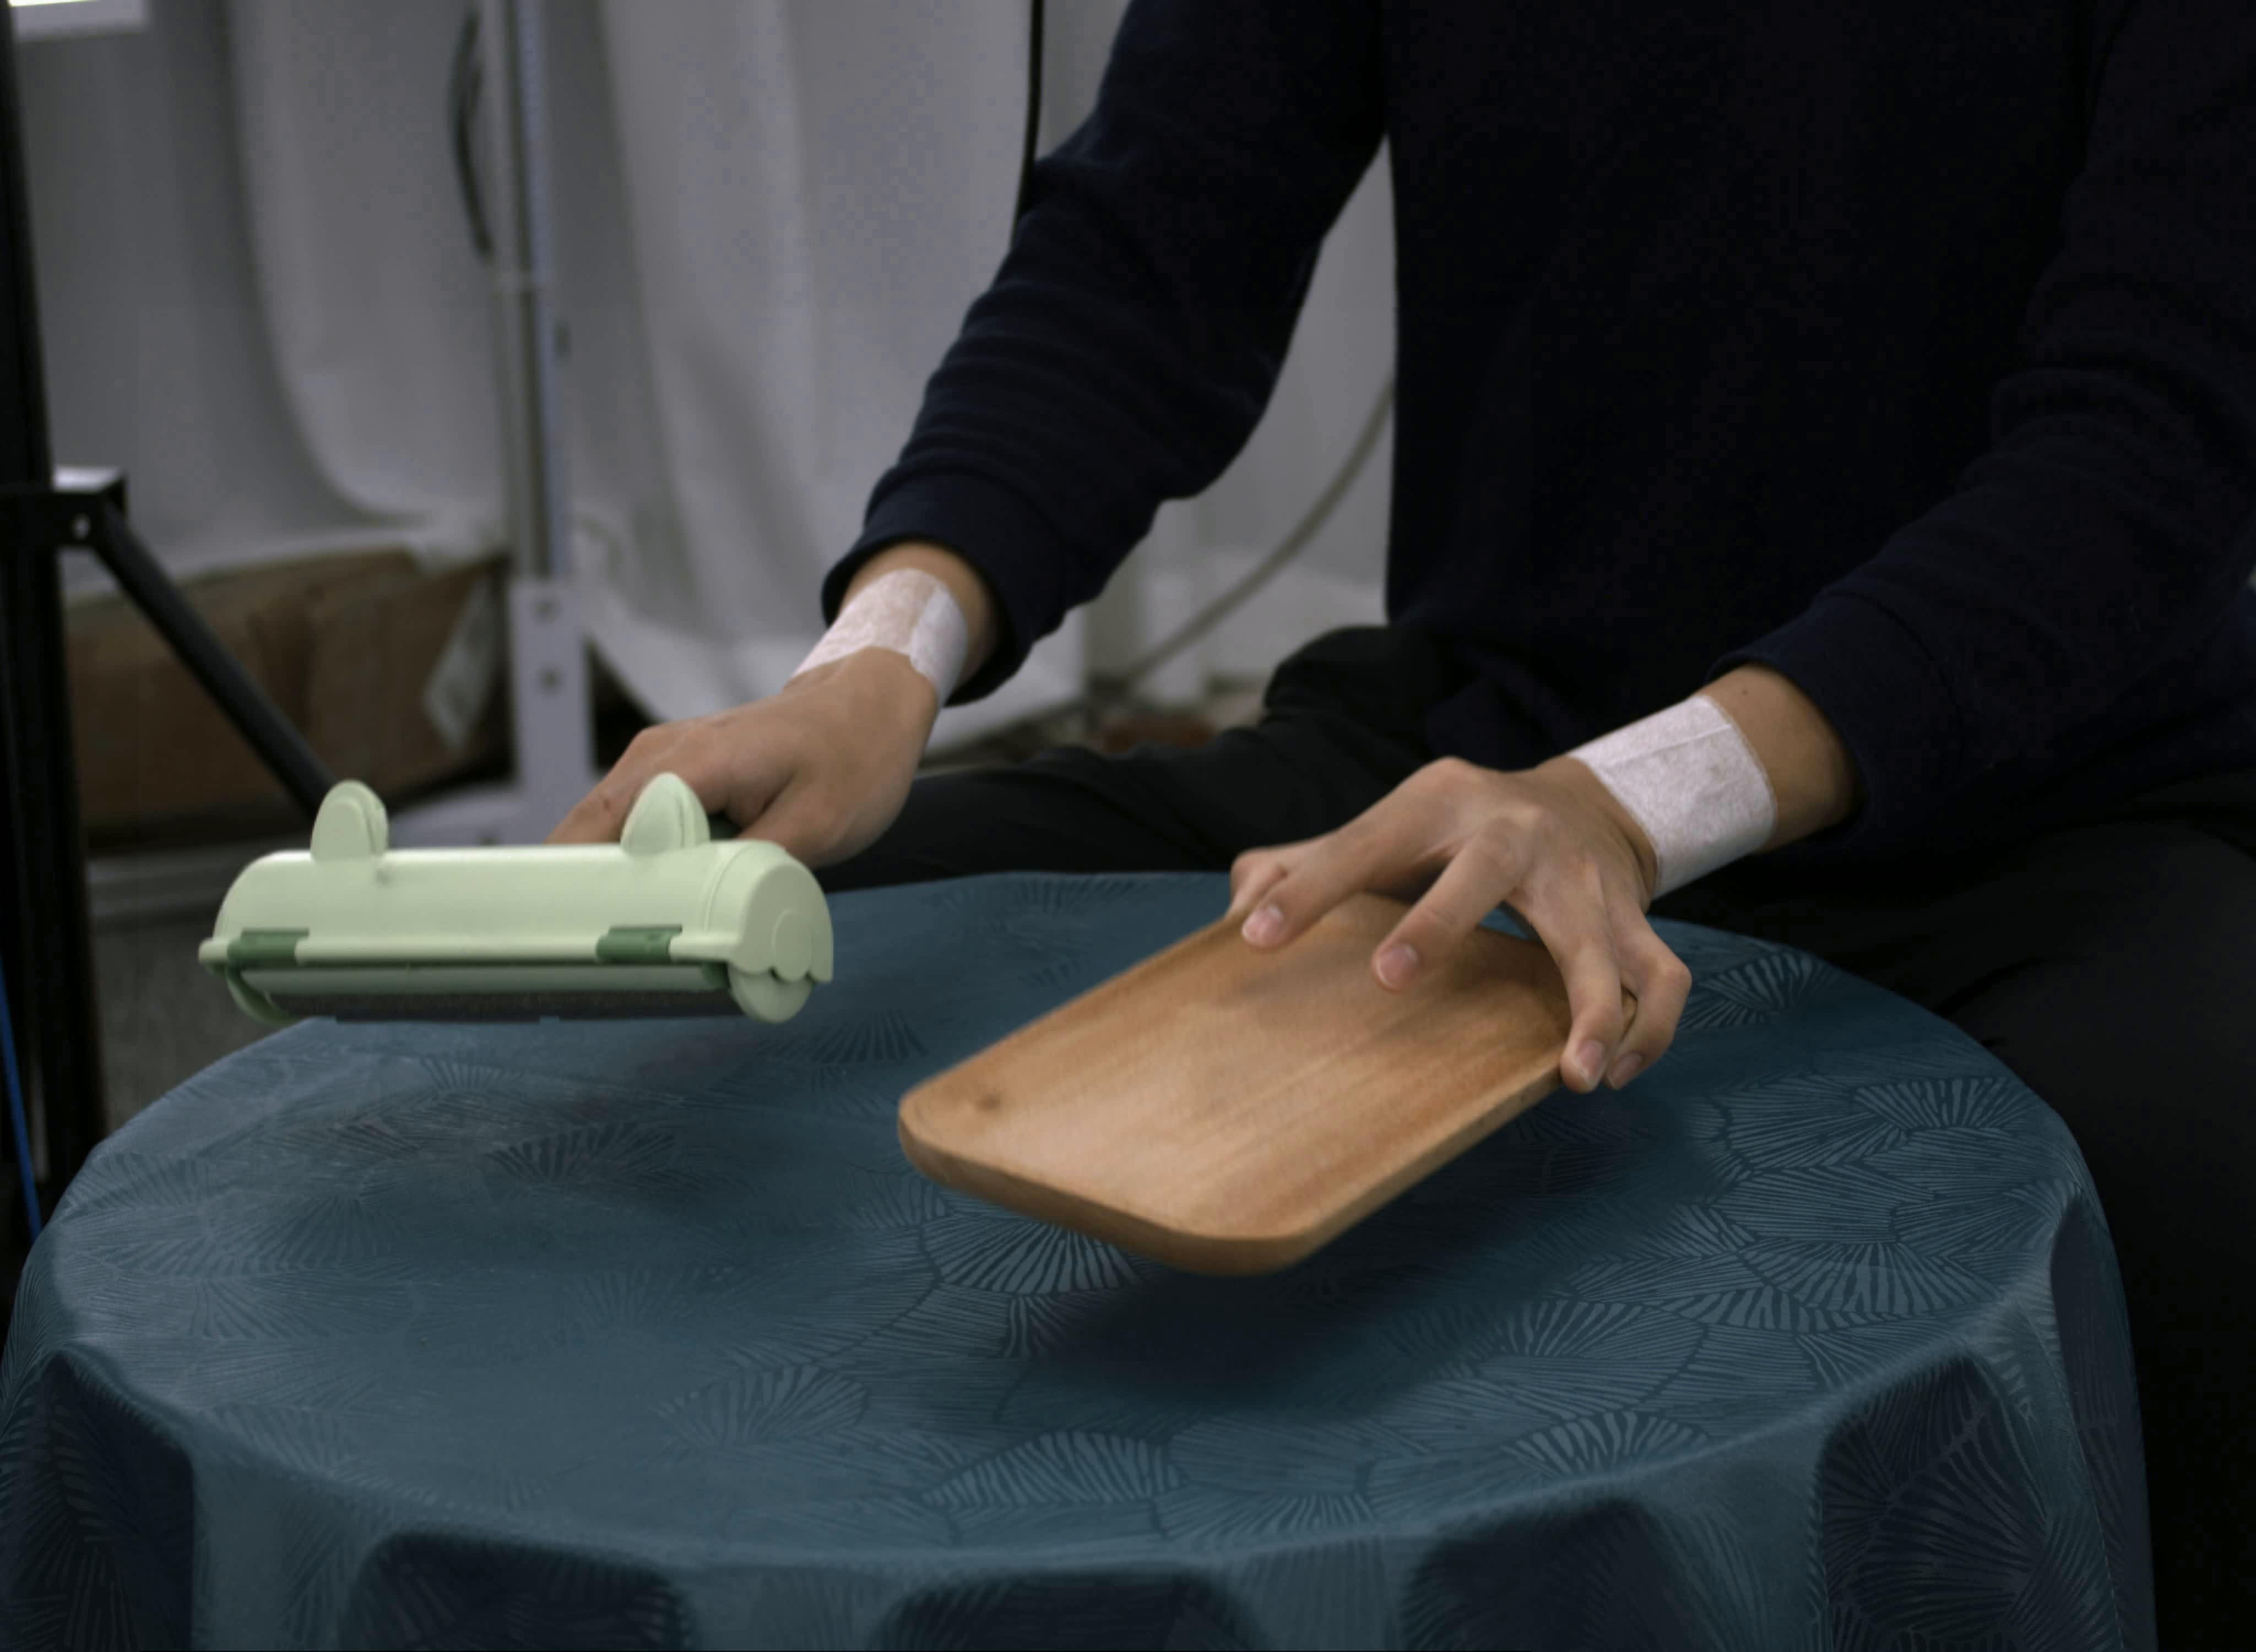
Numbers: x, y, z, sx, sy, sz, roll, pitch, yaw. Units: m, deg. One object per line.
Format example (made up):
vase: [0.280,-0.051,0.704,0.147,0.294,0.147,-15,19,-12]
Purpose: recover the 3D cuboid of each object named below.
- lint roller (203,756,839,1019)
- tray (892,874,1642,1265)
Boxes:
lint roller: [-0.160,-0.001,1.645,0.202,0.082,0.181,-1,24,30]
tray: [0.043,0.066,1.498,0.133,0.023,0.246,20,24,27]
